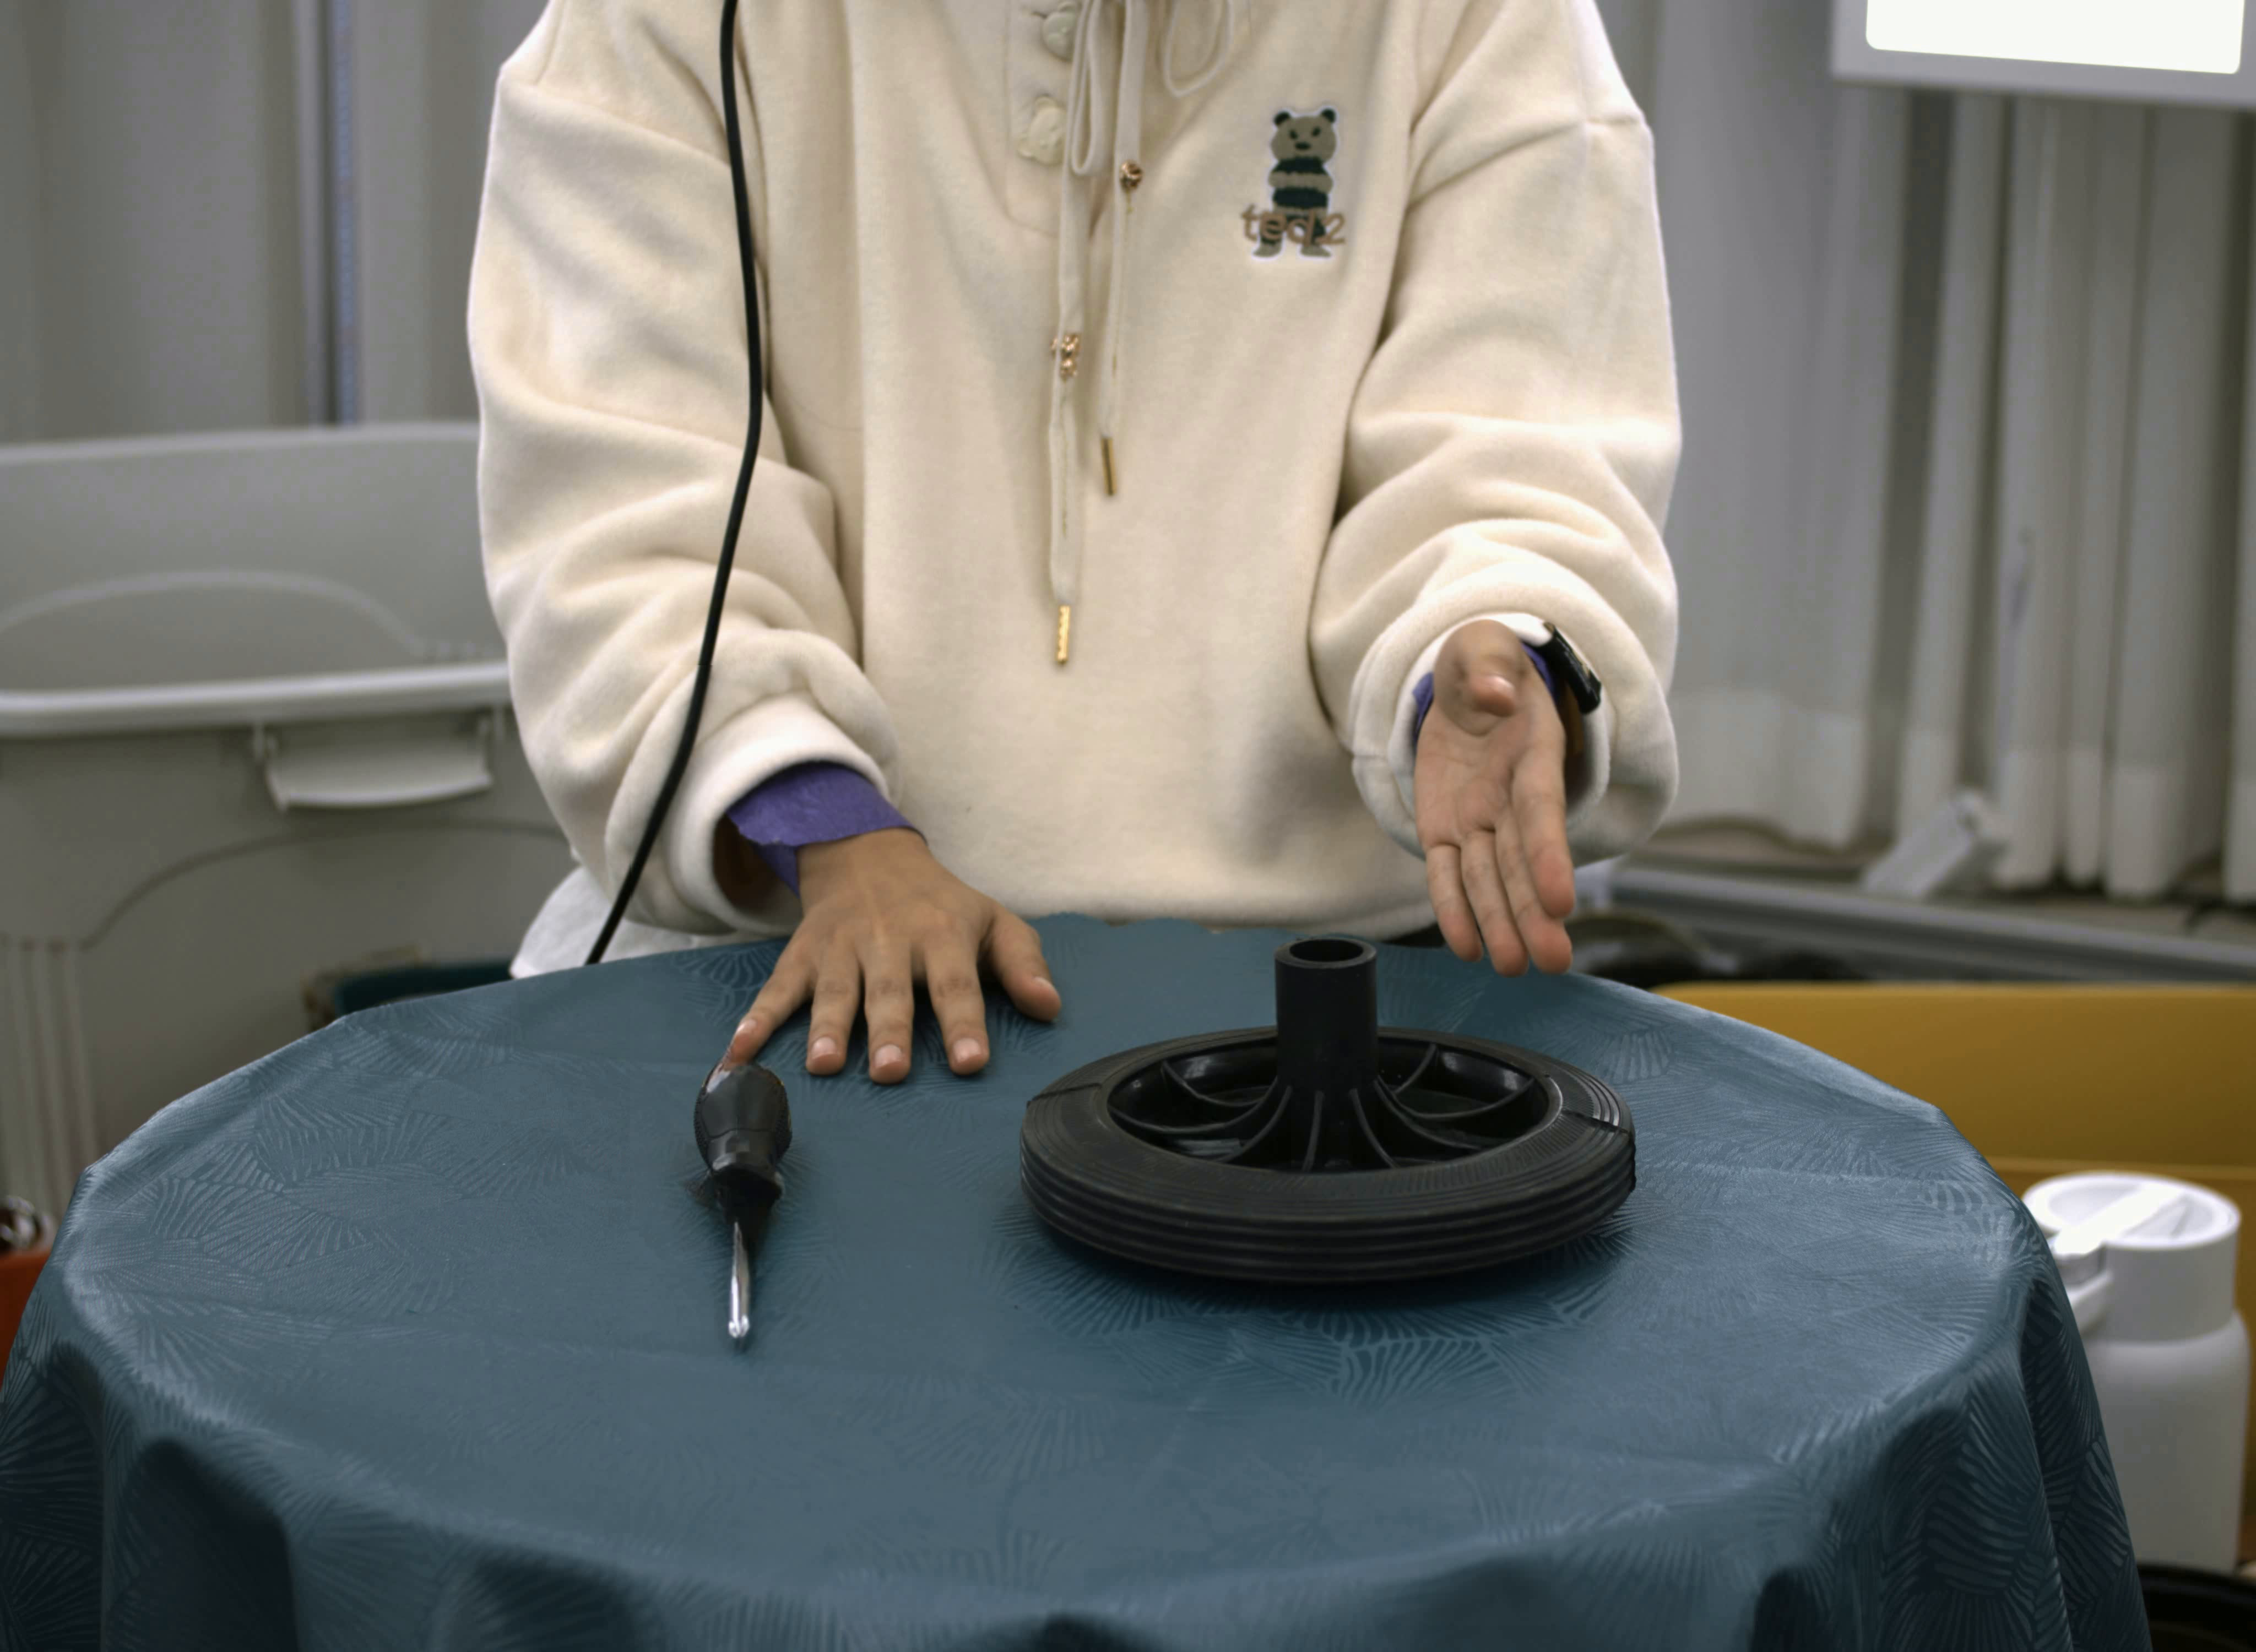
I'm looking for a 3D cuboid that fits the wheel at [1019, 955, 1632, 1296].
[{"bbox_3d":[0.059,0.081,1.596,0.191,0.080,0.185,-15,21,-40],"label":"wheel"}]

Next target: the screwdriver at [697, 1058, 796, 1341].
[{"bbox_3d":[-0.112,0.112,1.575,0.031,0.032,0.195,-1,18,-6],"label":"screwdriver"}]
